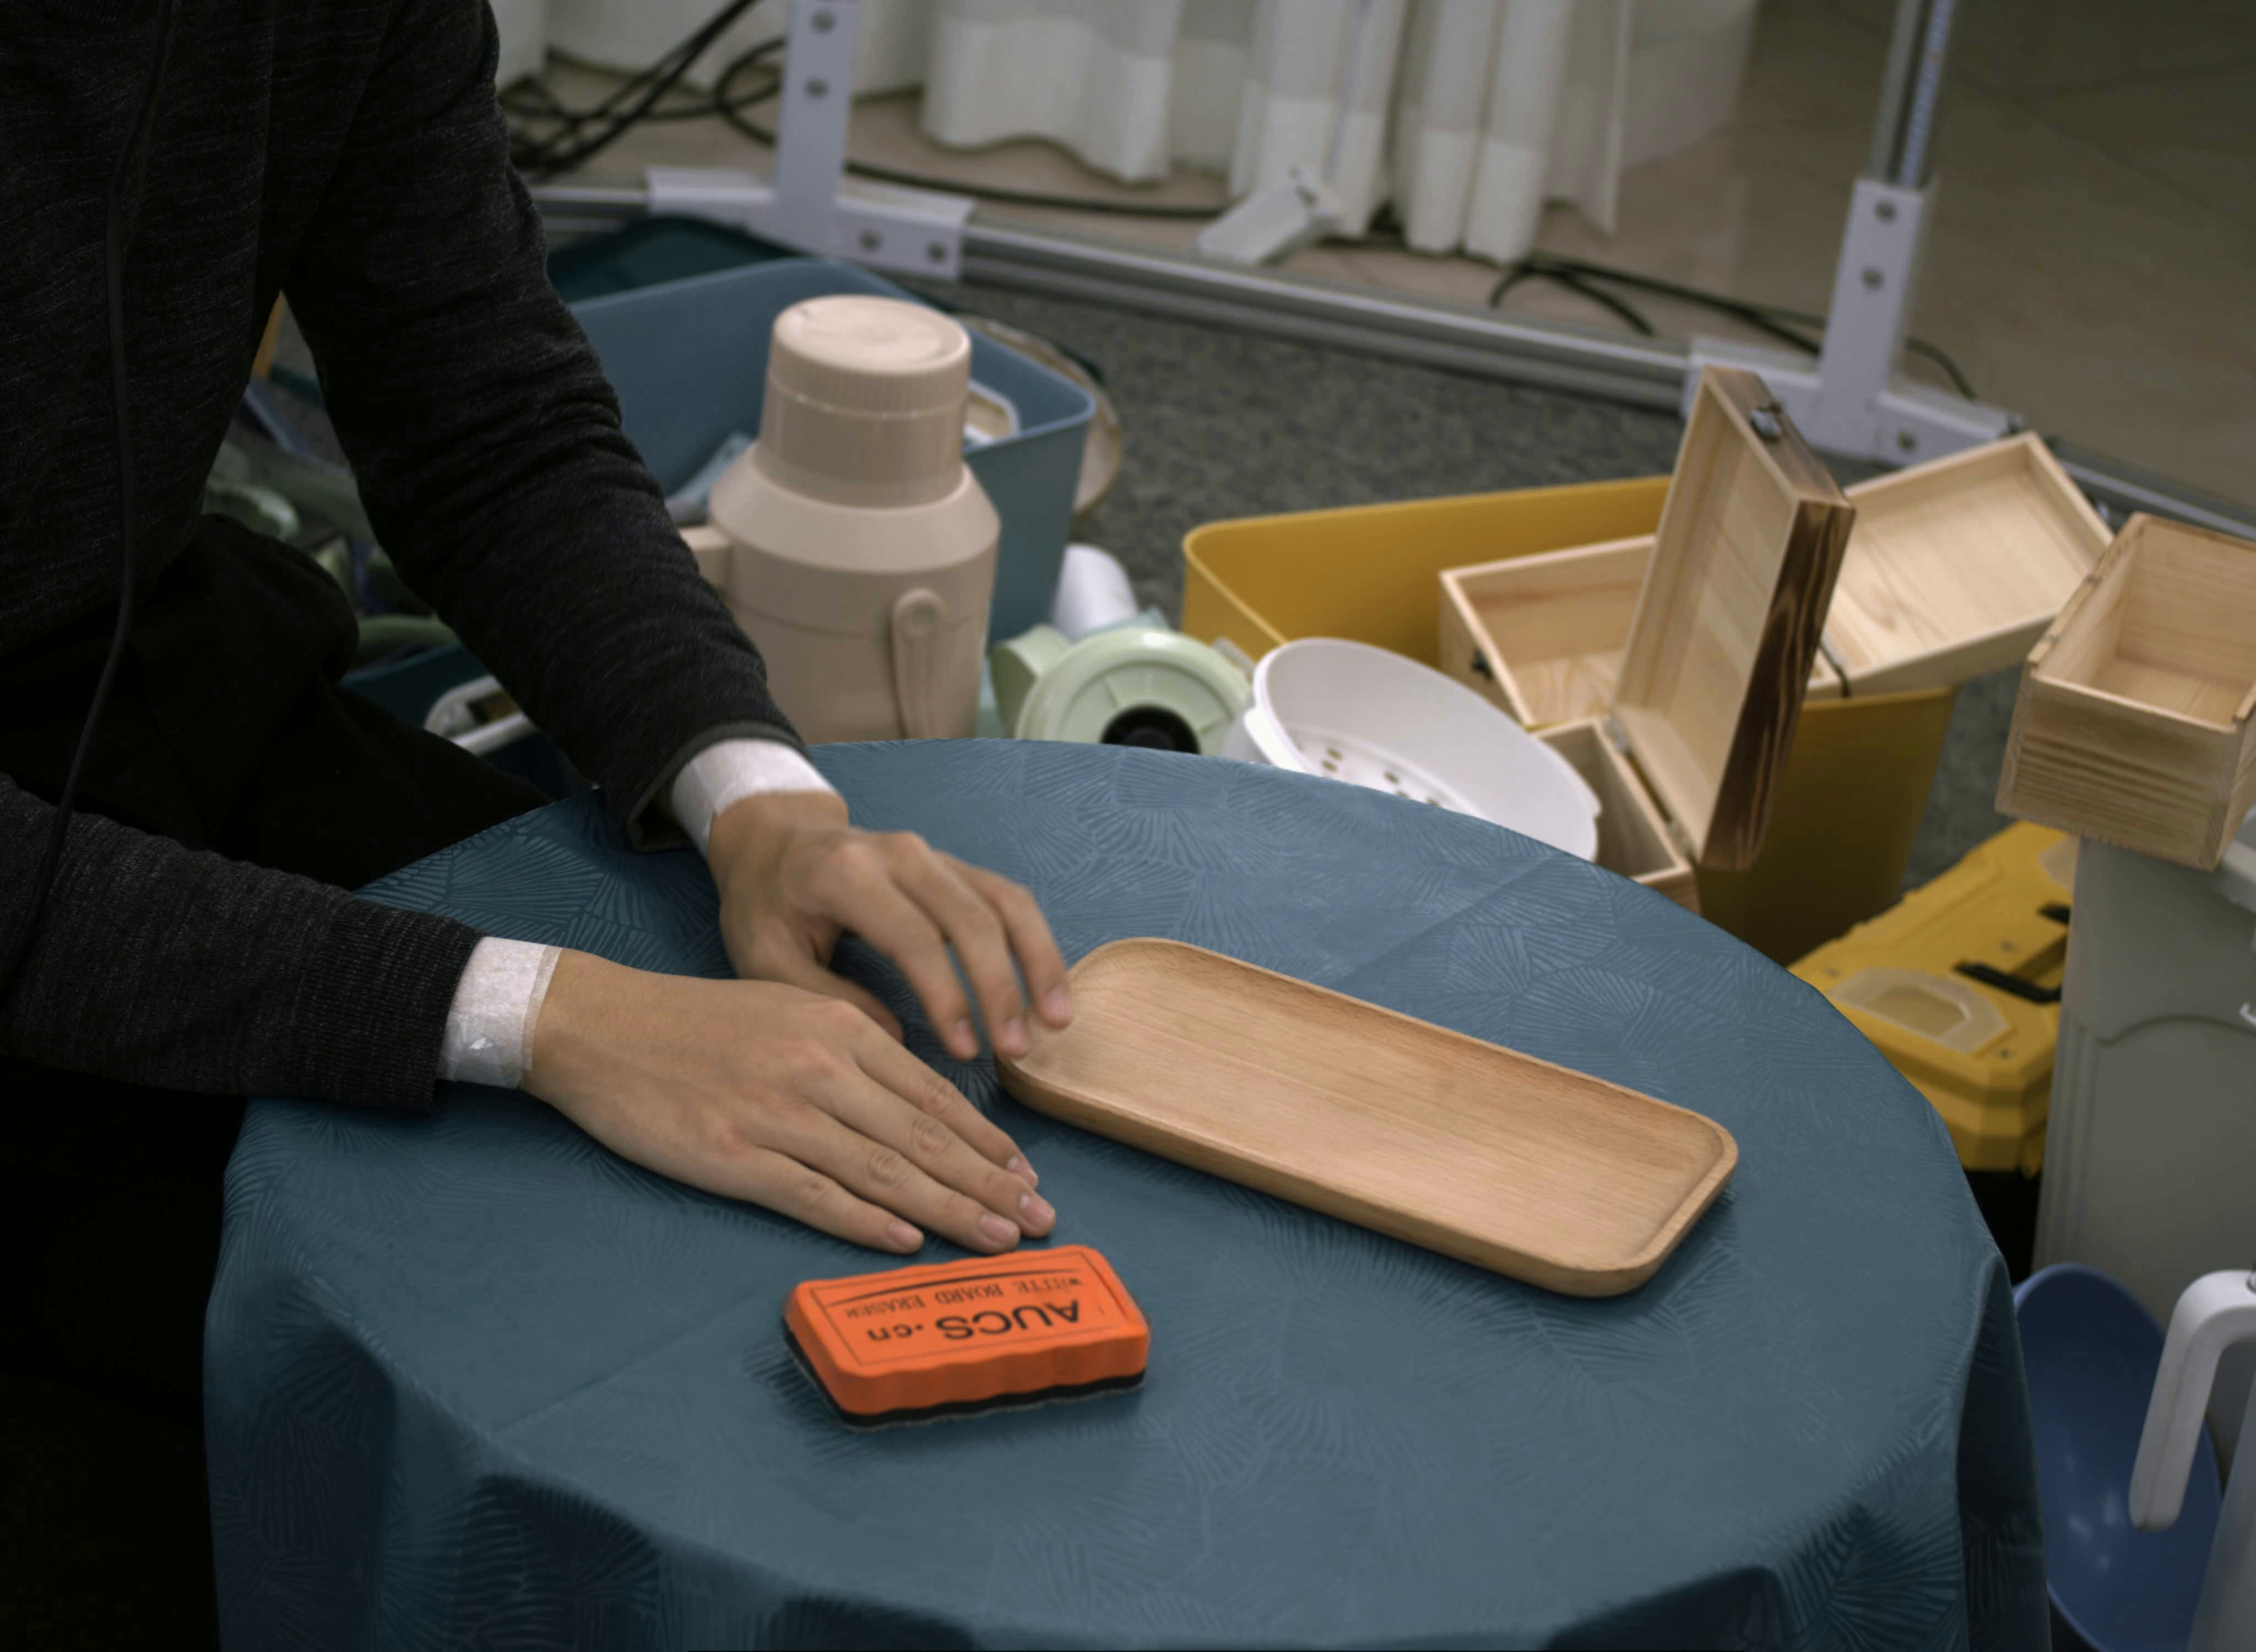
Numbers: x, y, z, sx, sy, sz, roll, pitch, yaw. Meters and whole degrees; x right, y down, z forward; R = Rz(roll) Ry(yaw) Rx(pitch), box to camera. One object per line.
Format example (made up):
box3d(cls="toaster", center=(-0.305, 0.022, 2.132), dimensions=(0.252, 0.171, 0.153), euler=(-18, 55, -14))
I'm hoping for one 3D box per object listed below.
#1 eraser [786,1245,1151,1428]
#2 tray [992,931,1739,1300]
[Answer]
box3d(cls="eraser", center=(-0.051, 0.162, 1.688), dimensions=(0.107, 0.023, 0.059), euler=(-5, 29, -22))
box3d(cls="tray", center=(0.081, 0.099, 1.849), dimensions=(0.251, 0.023, 0.130), euler=(18, 27, 23))
